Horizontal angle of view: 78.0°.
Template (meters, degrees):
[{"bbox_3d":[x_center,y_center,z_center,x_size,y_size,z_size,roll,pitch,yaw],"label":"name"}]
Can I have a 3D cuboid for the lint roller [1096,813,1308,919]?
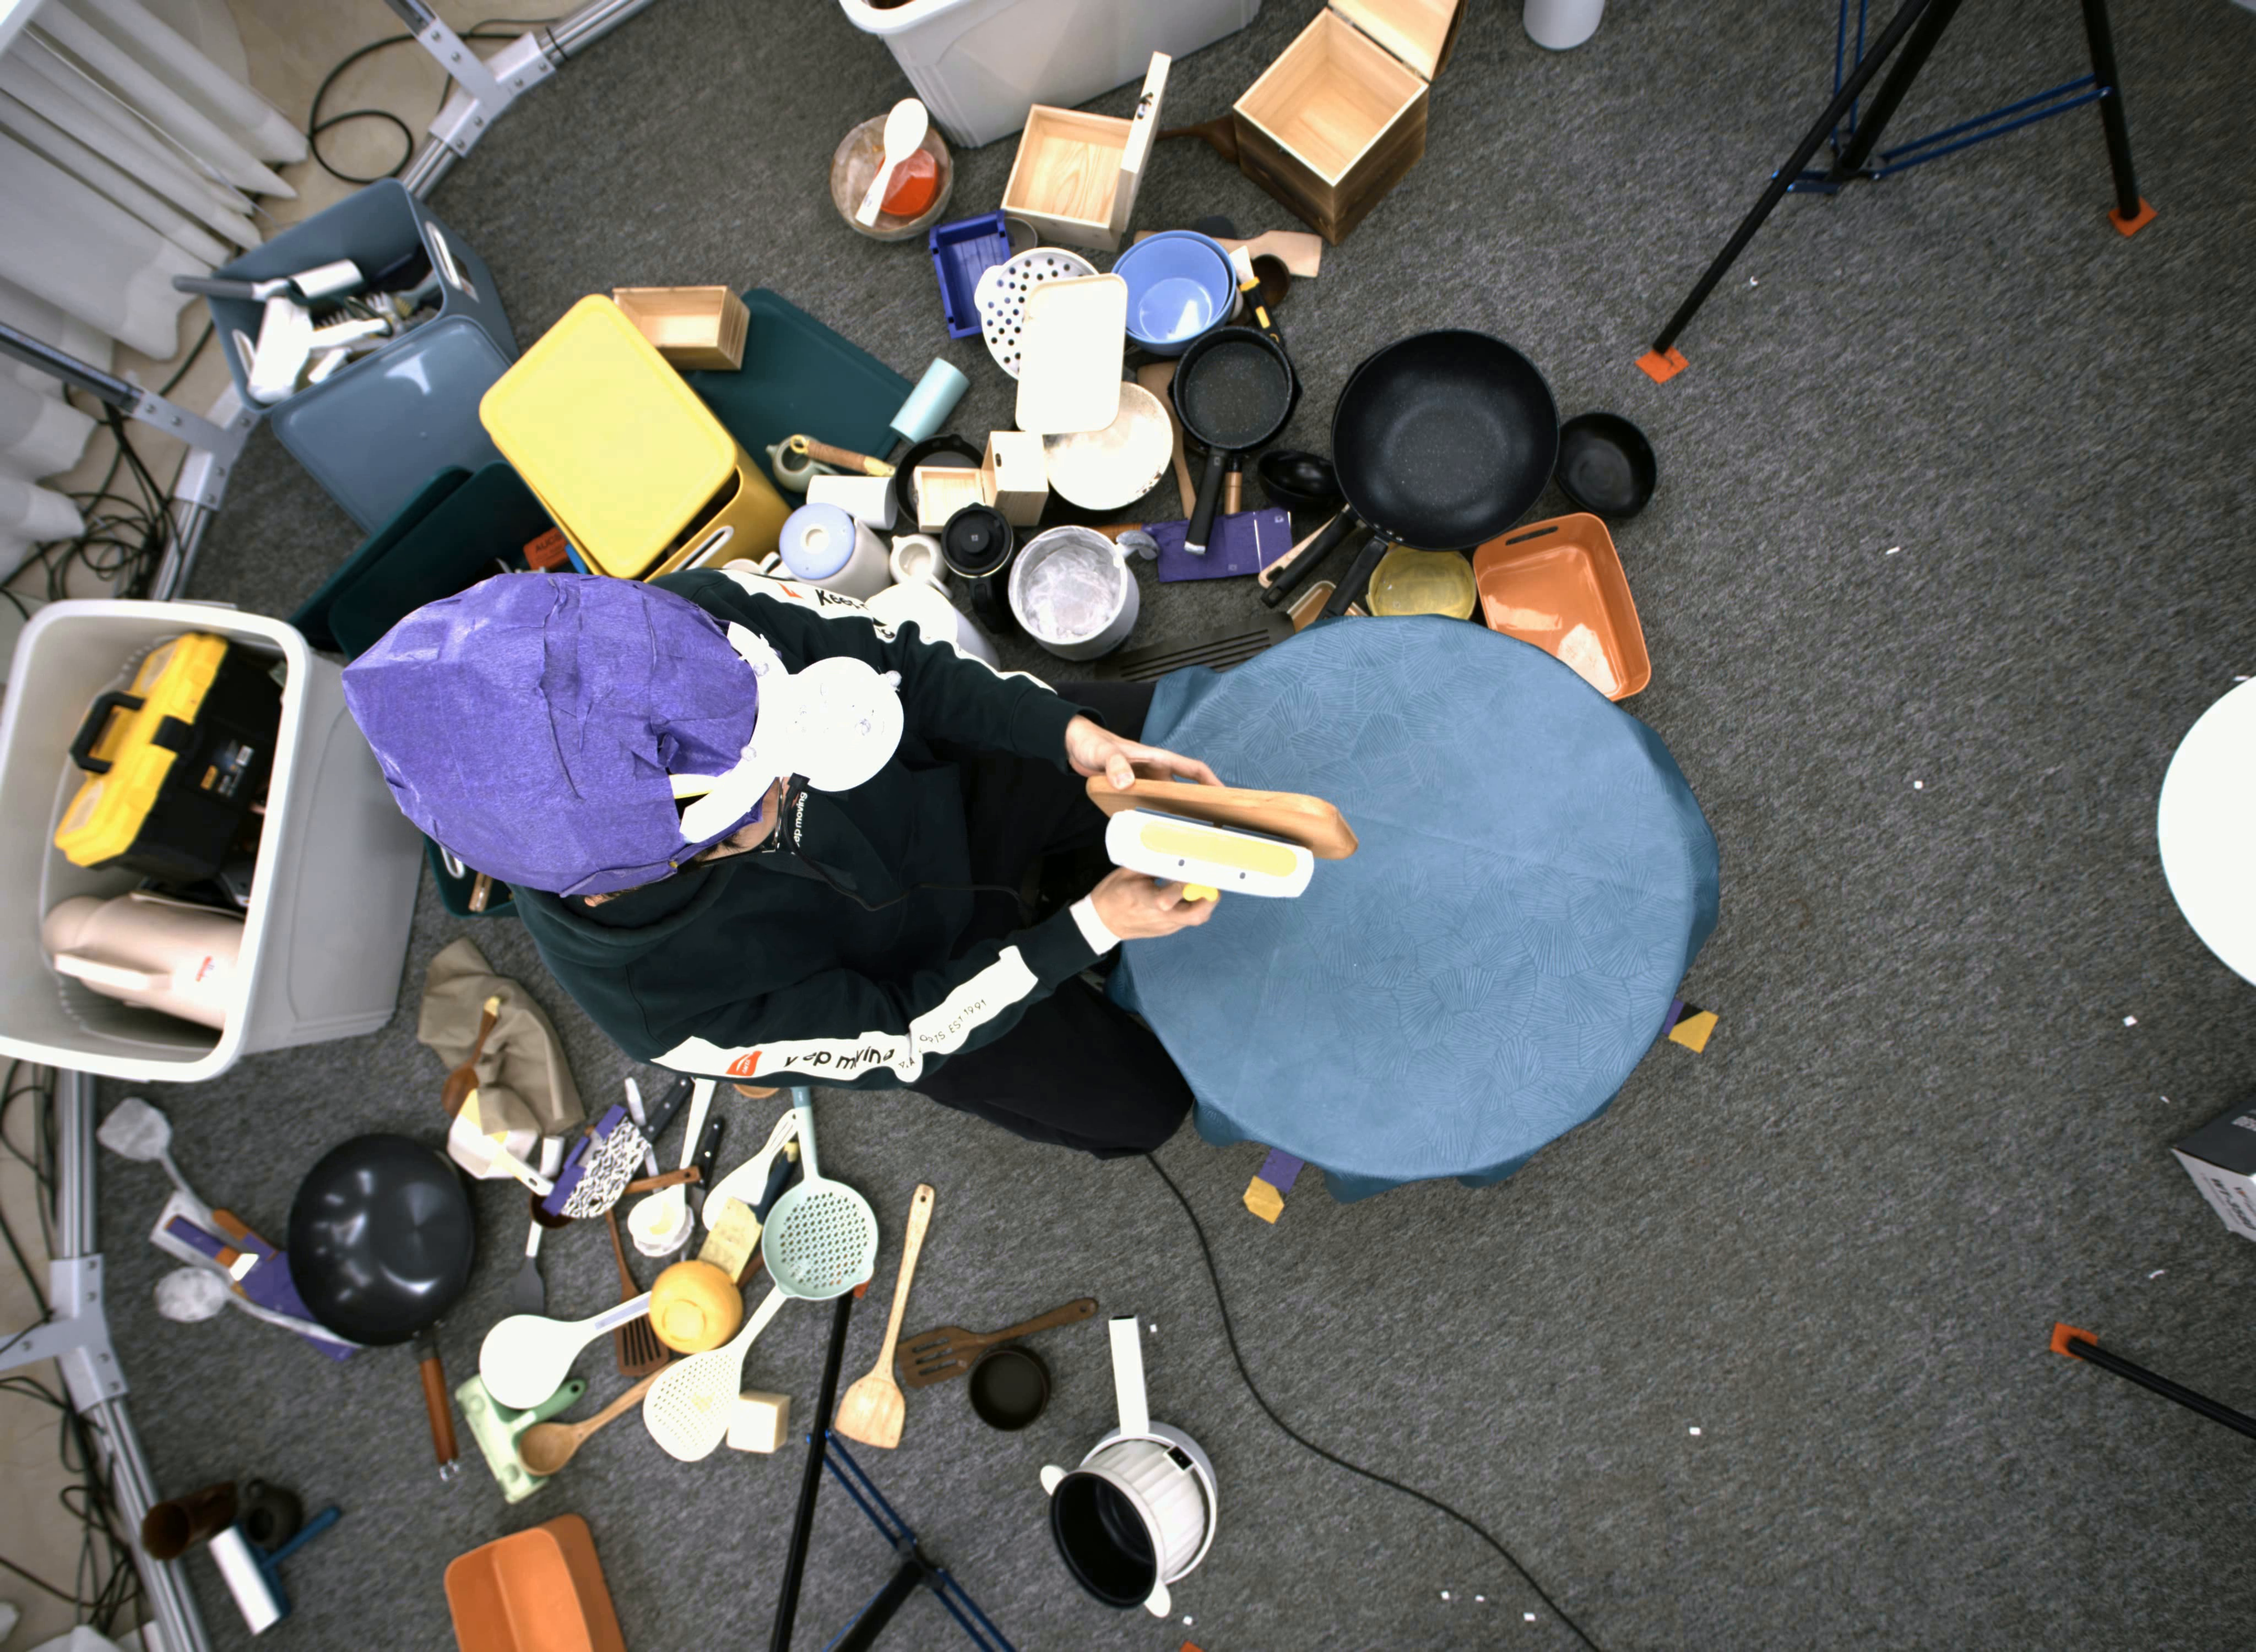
[{"bbox_3d":[0.058,0.045,1.310,0.193,0.194,0.073,6,78,-7],"label":"lint roller"}]

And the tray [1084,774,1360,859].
[{"bbox_3d":[0.085,-0.008,1.290,0.252,0.132,0.022,5,68,28],"label":"tray"}]
